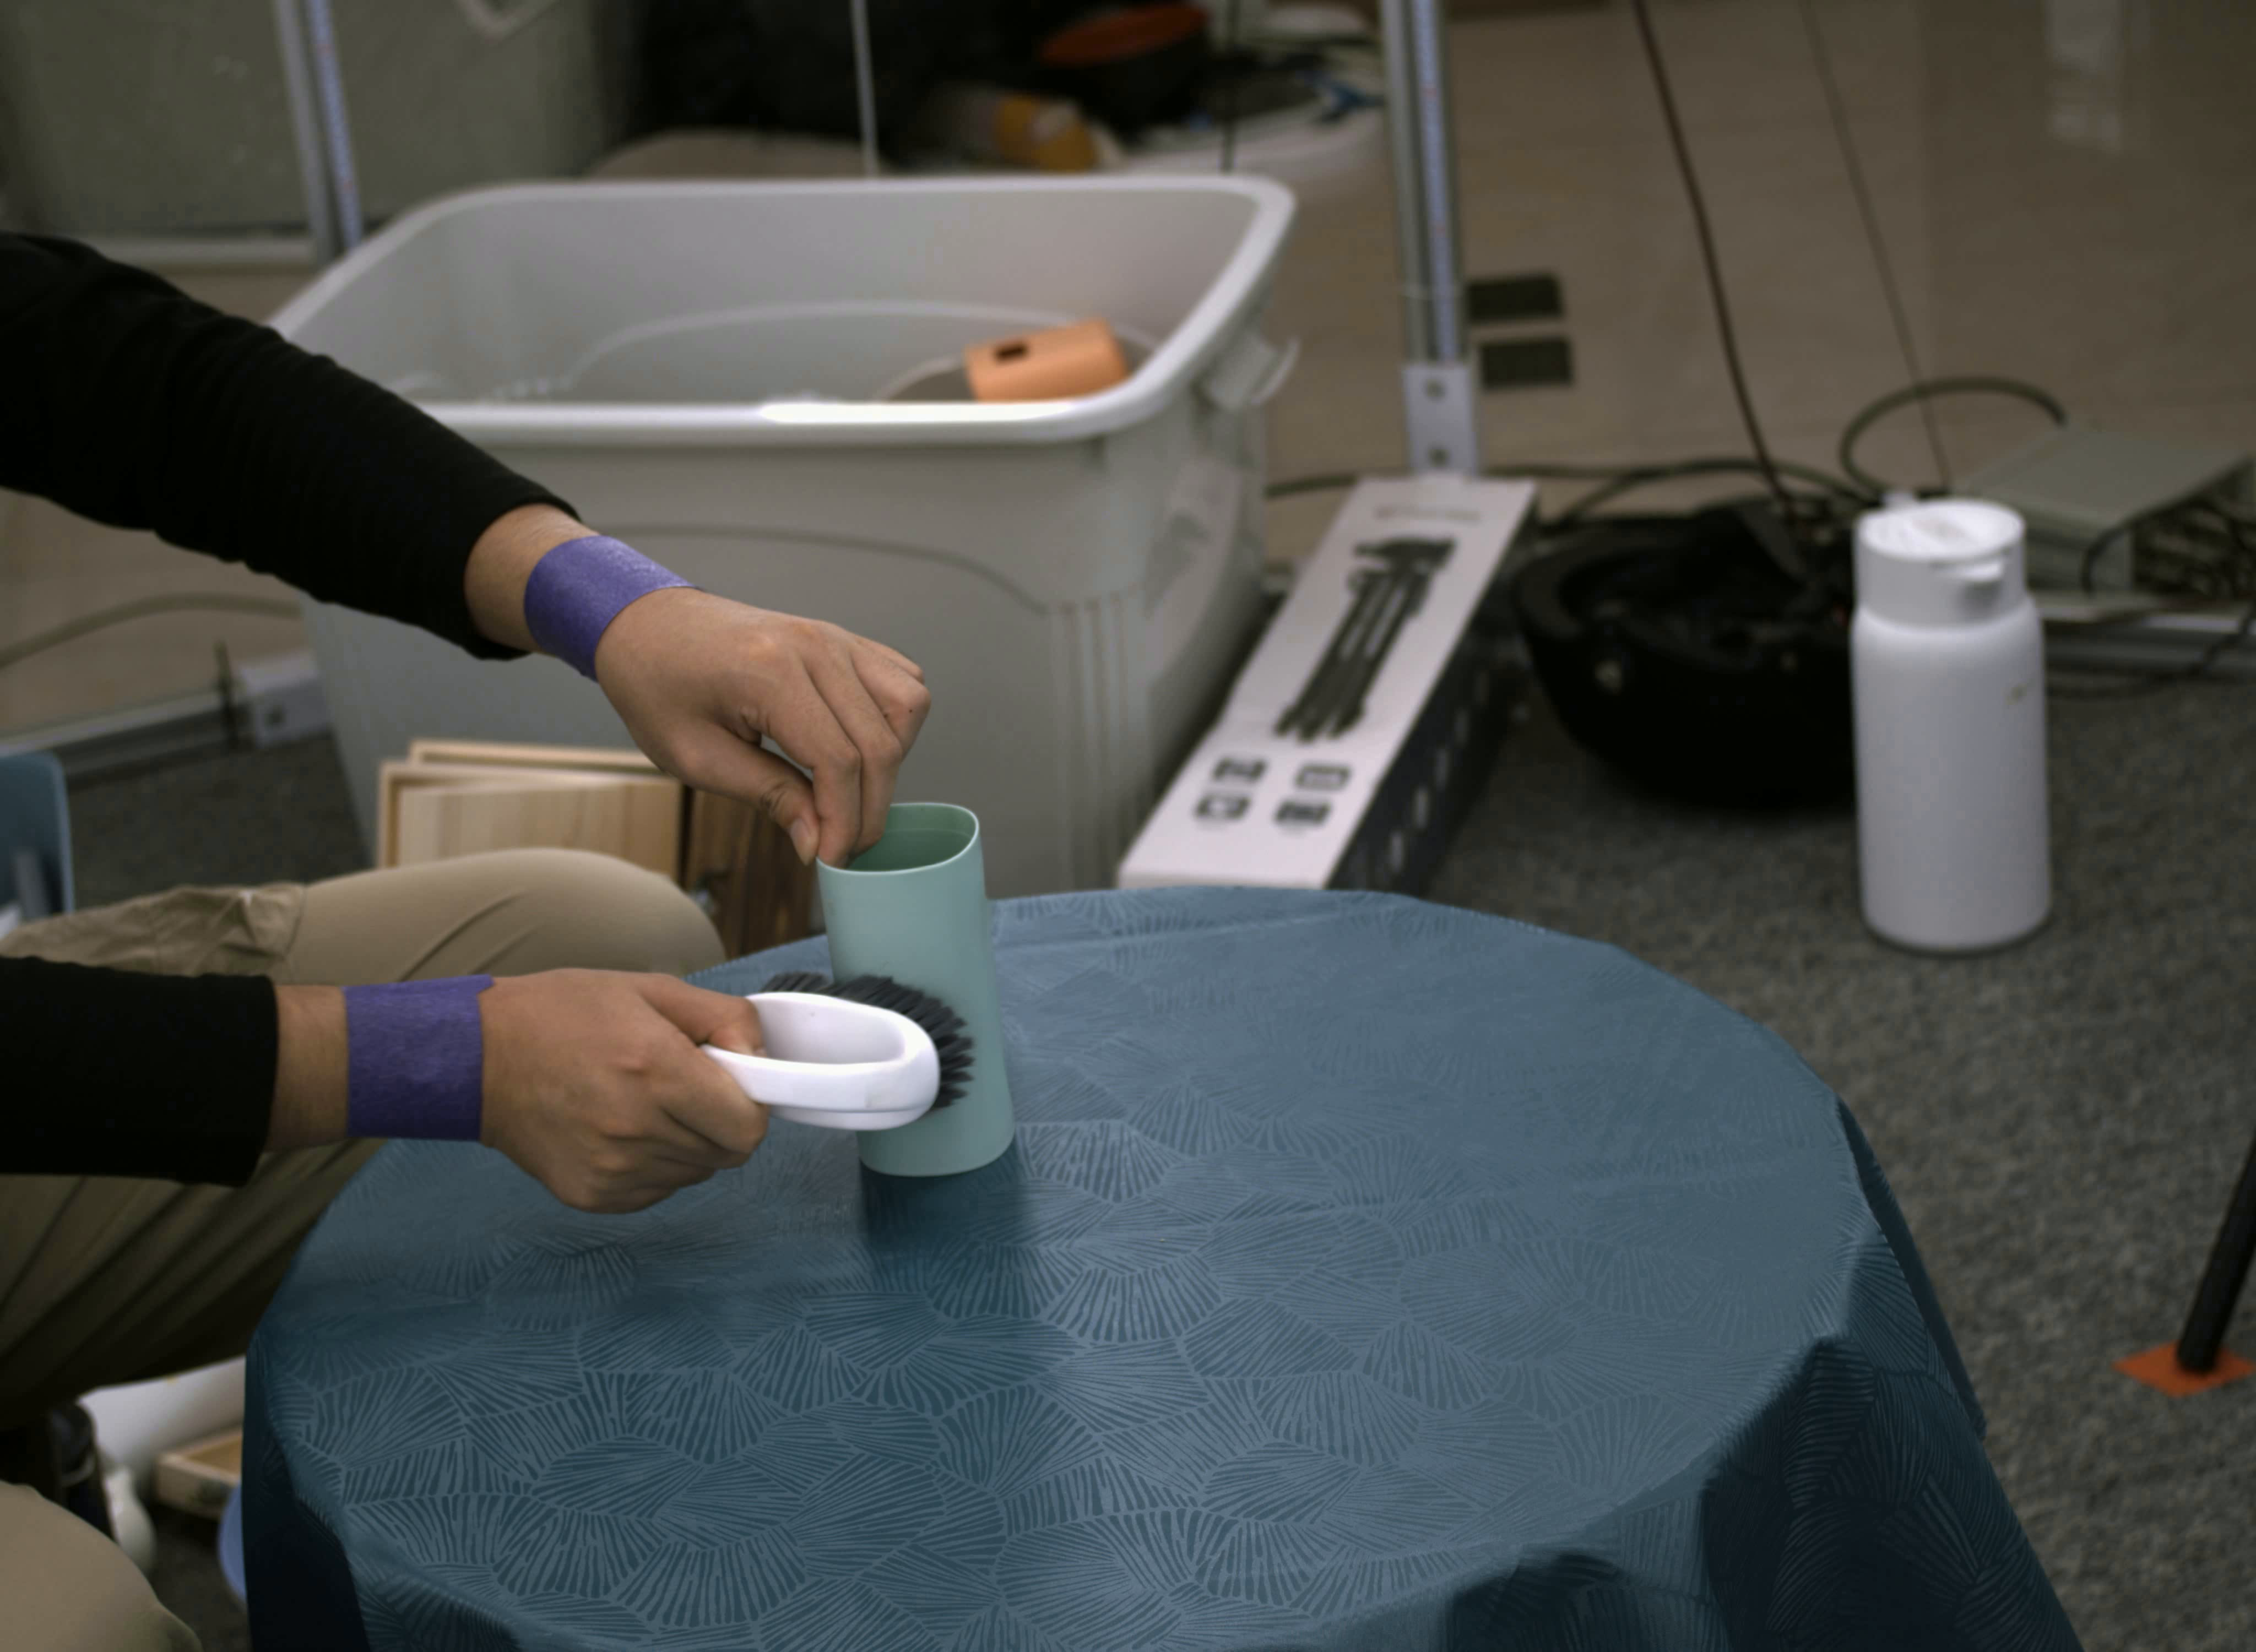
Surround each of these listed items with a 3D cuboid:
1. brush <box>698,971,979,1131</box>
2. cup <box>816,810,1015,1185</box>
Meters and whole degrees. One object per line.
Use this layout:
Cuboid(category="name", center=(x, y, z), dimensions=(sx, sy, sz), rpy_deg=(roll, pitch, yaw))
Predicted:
Cuboid(category="brush", center=(-0.115, 0.089, 2.118), dimensions=(0.099, 0.051, 0.072), rpy_deg=(10, 17, 26))
Cuboid(category="cup", center=(-0.081, 0.066, 2.175), dimensions=(0.066, 0.134, 0.066), rpy_deg=(-5, 26, 2))
